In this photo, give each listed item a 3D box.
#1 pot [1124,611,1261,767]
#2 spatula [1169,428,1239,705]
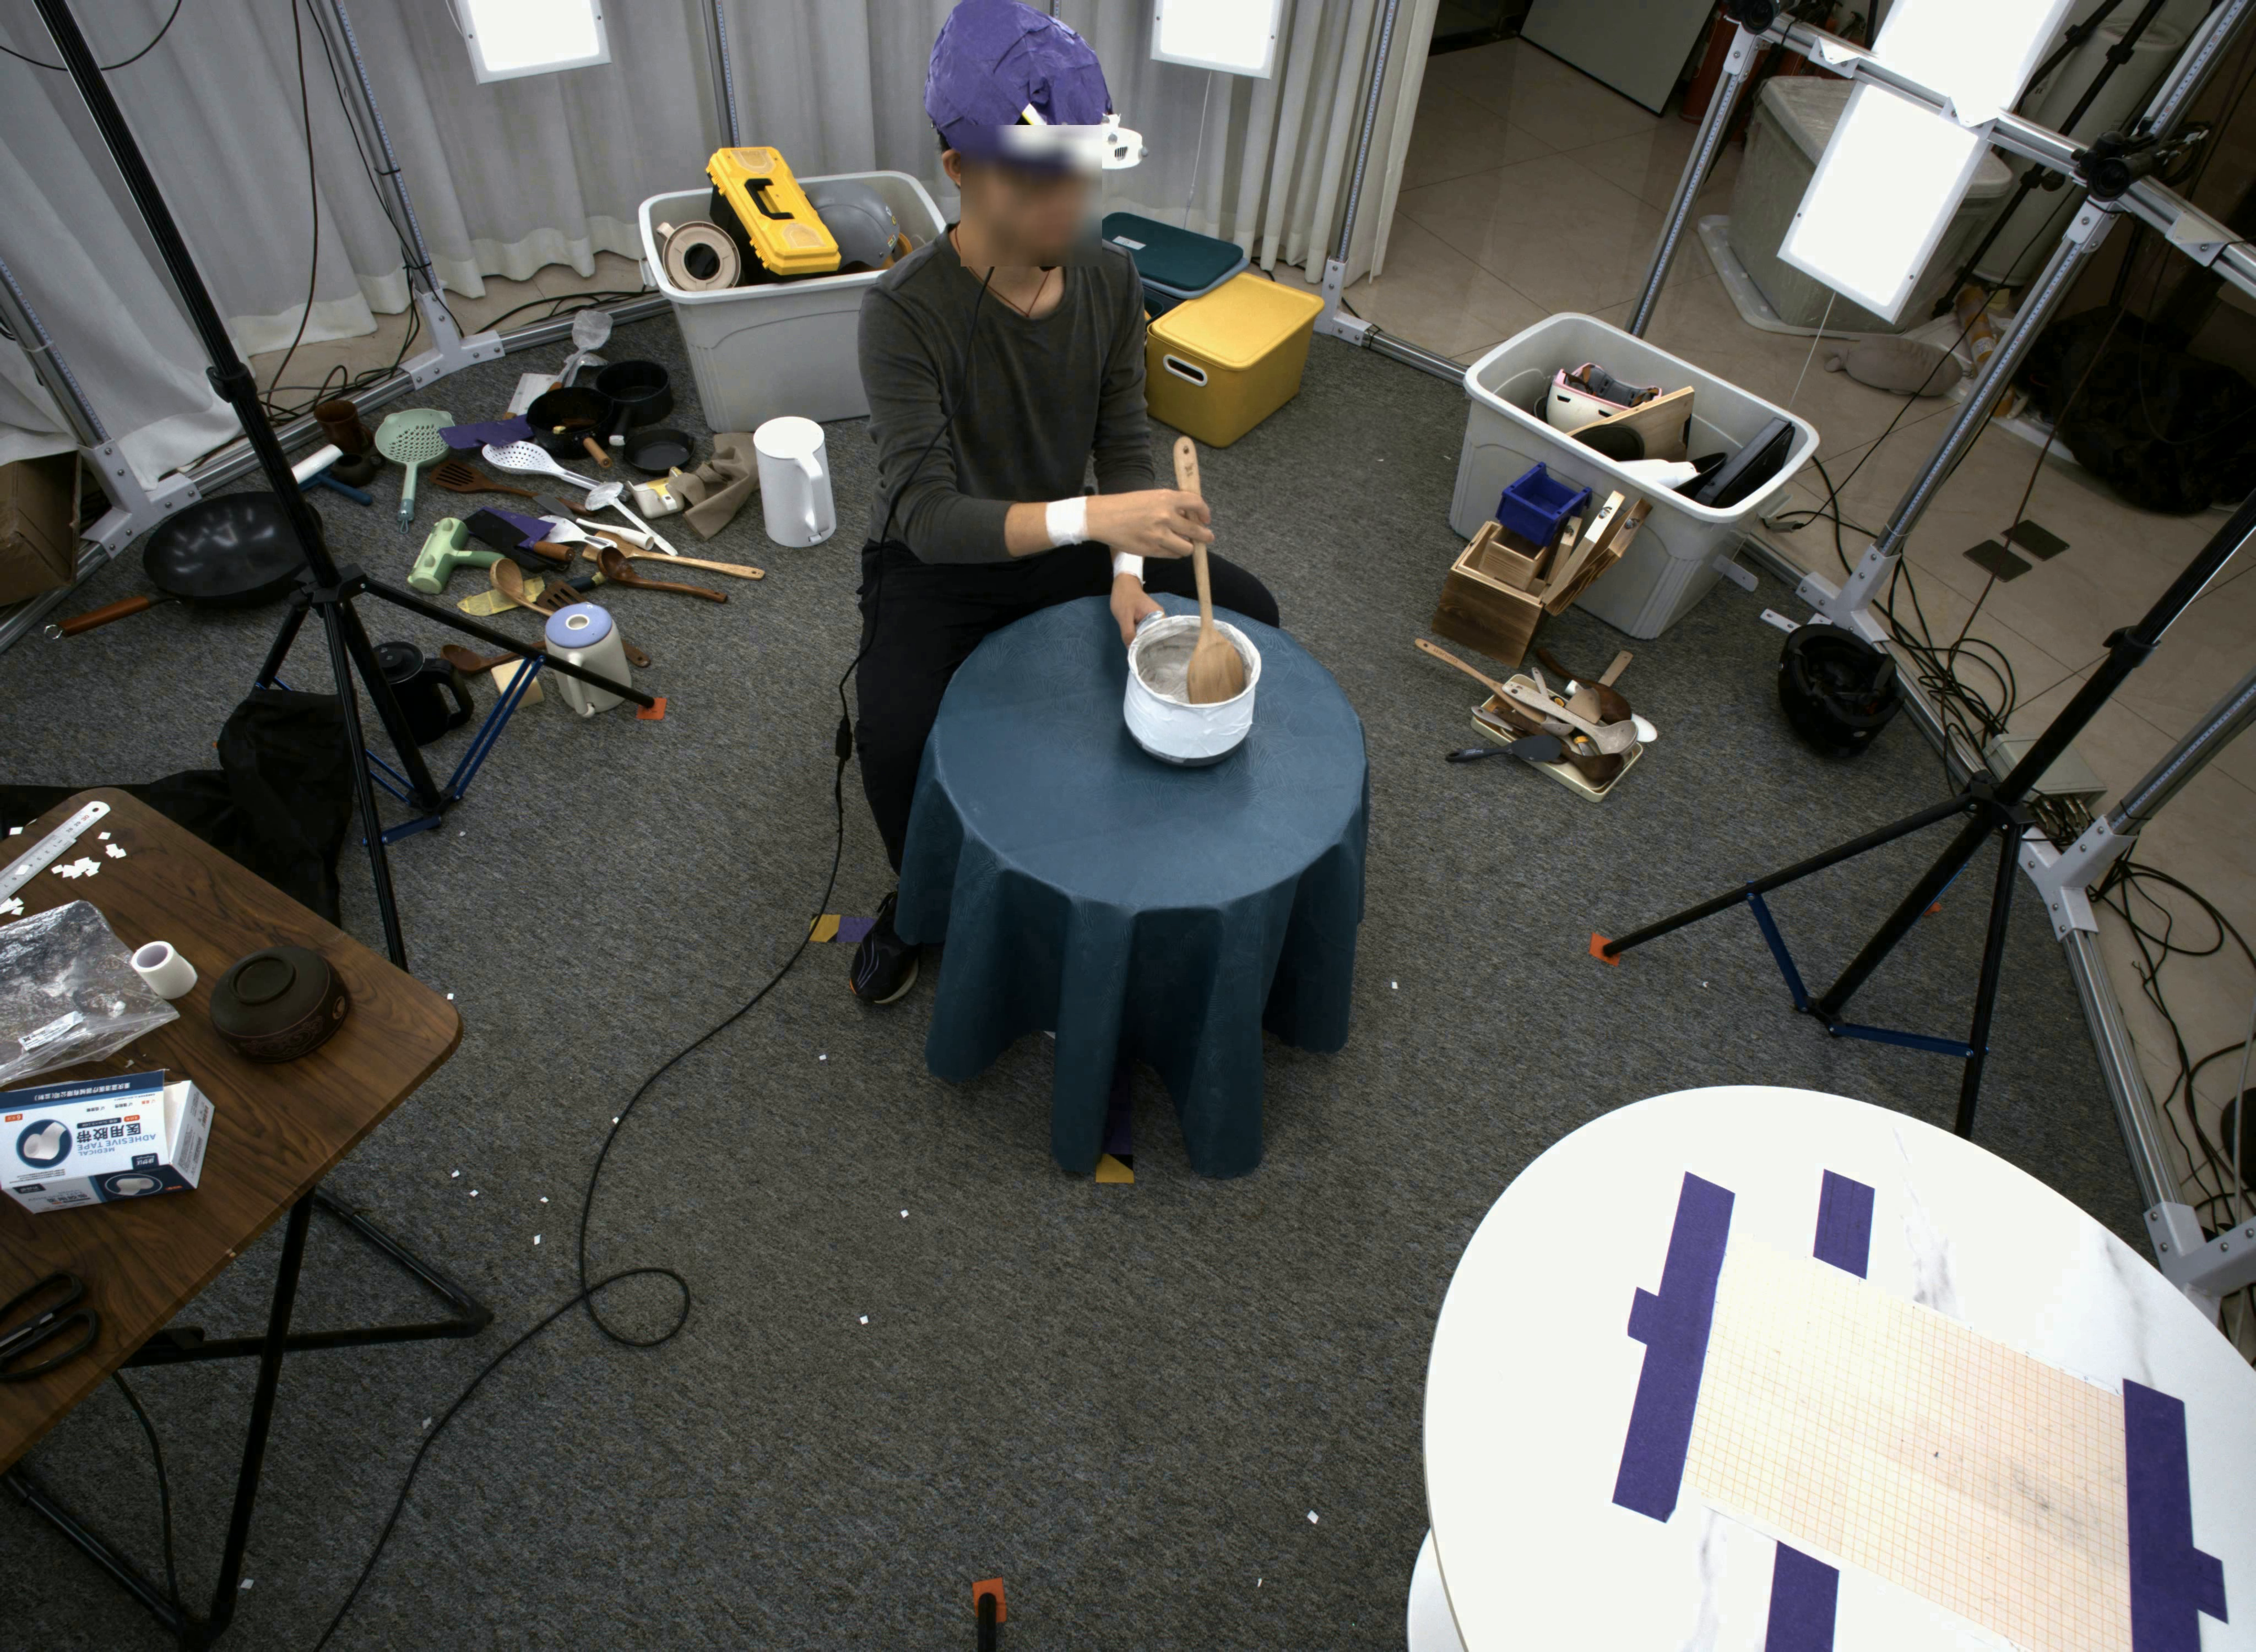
[{"bbox_3d":[0.070,-0.197,1.757,0.179,0.133,0.239,-21,53,-21],"label":"pot"},{"bbox_3d":[0.087,-0.316,1.634,0.096,0.381,0.019,-33,43,-25],"label":"spatula"}]
